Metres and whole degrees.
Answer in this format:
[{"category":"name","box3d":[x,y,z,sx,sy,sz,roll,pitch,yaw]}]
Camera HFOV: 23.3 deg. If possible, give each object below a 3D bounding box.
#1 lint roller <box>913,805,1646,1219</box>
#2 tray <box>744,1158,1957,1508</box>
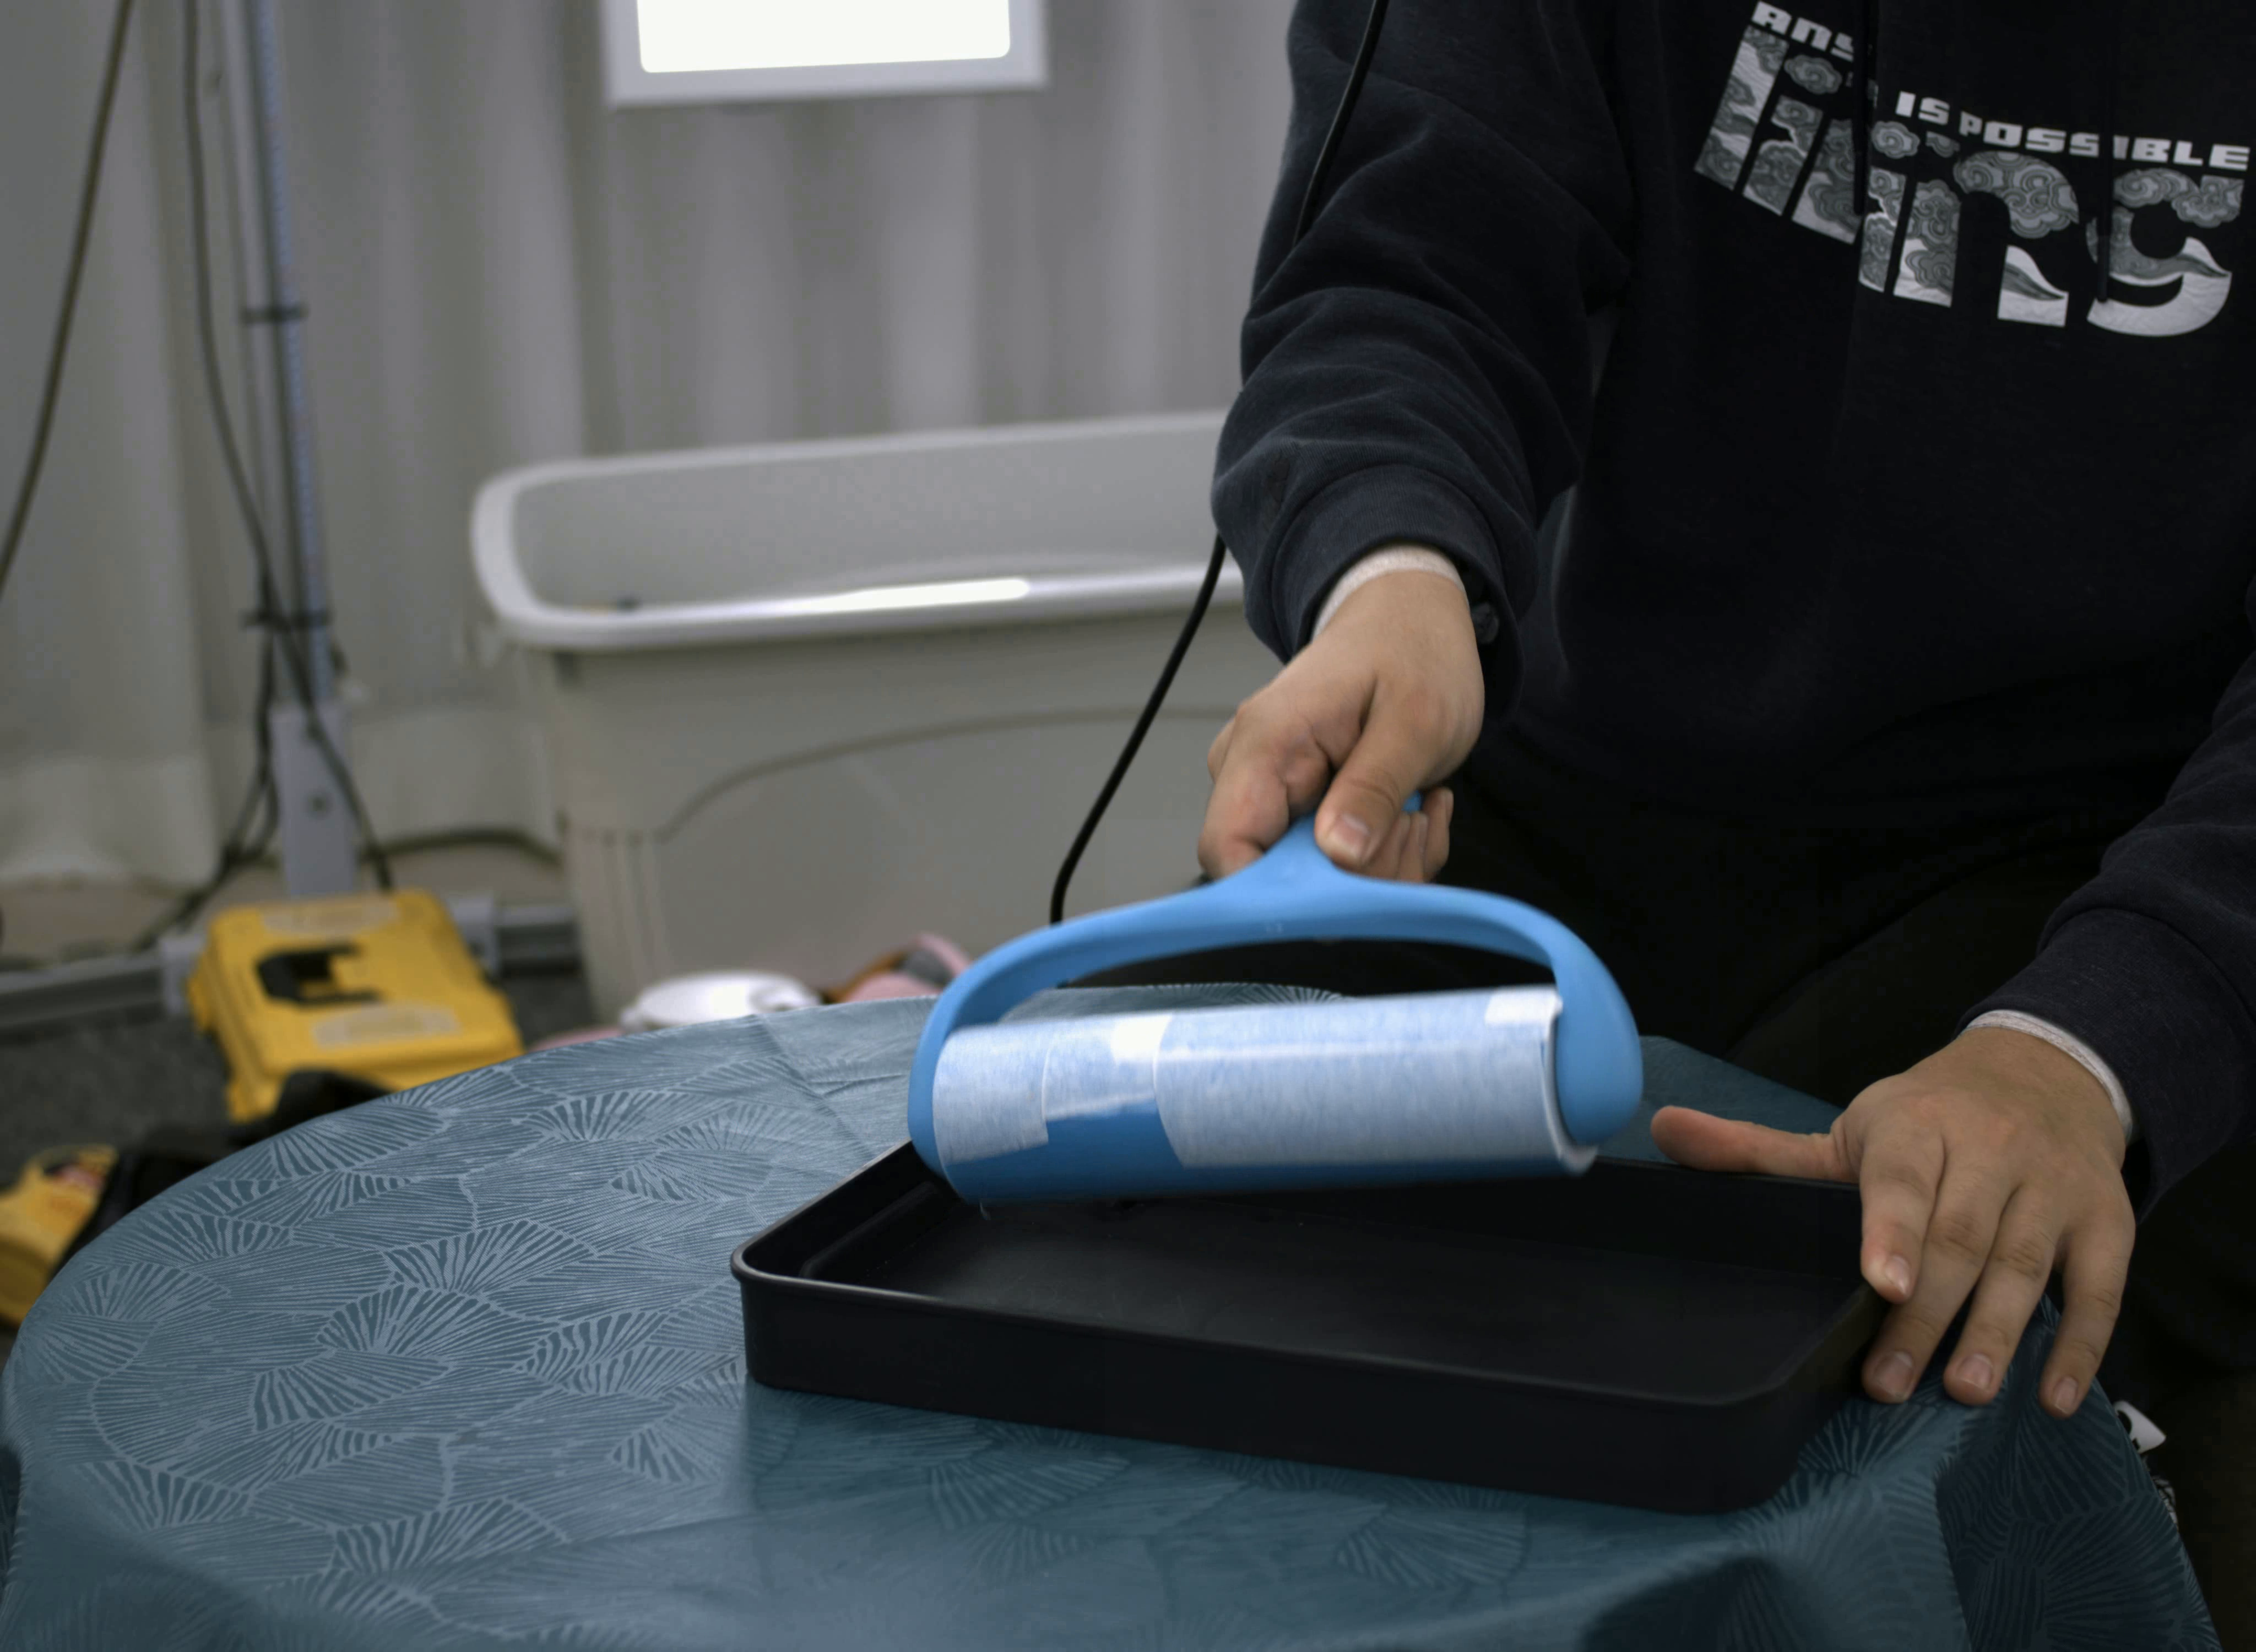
[{"category":"lint roller","box3d":[0.054,0.041,1.633,0.229,0.067,0.182,-8,40,24]},{"category":"tray","box3d":[0.065,0.136,1.570,0.318,0.037,0.184,2,15,26]}]
